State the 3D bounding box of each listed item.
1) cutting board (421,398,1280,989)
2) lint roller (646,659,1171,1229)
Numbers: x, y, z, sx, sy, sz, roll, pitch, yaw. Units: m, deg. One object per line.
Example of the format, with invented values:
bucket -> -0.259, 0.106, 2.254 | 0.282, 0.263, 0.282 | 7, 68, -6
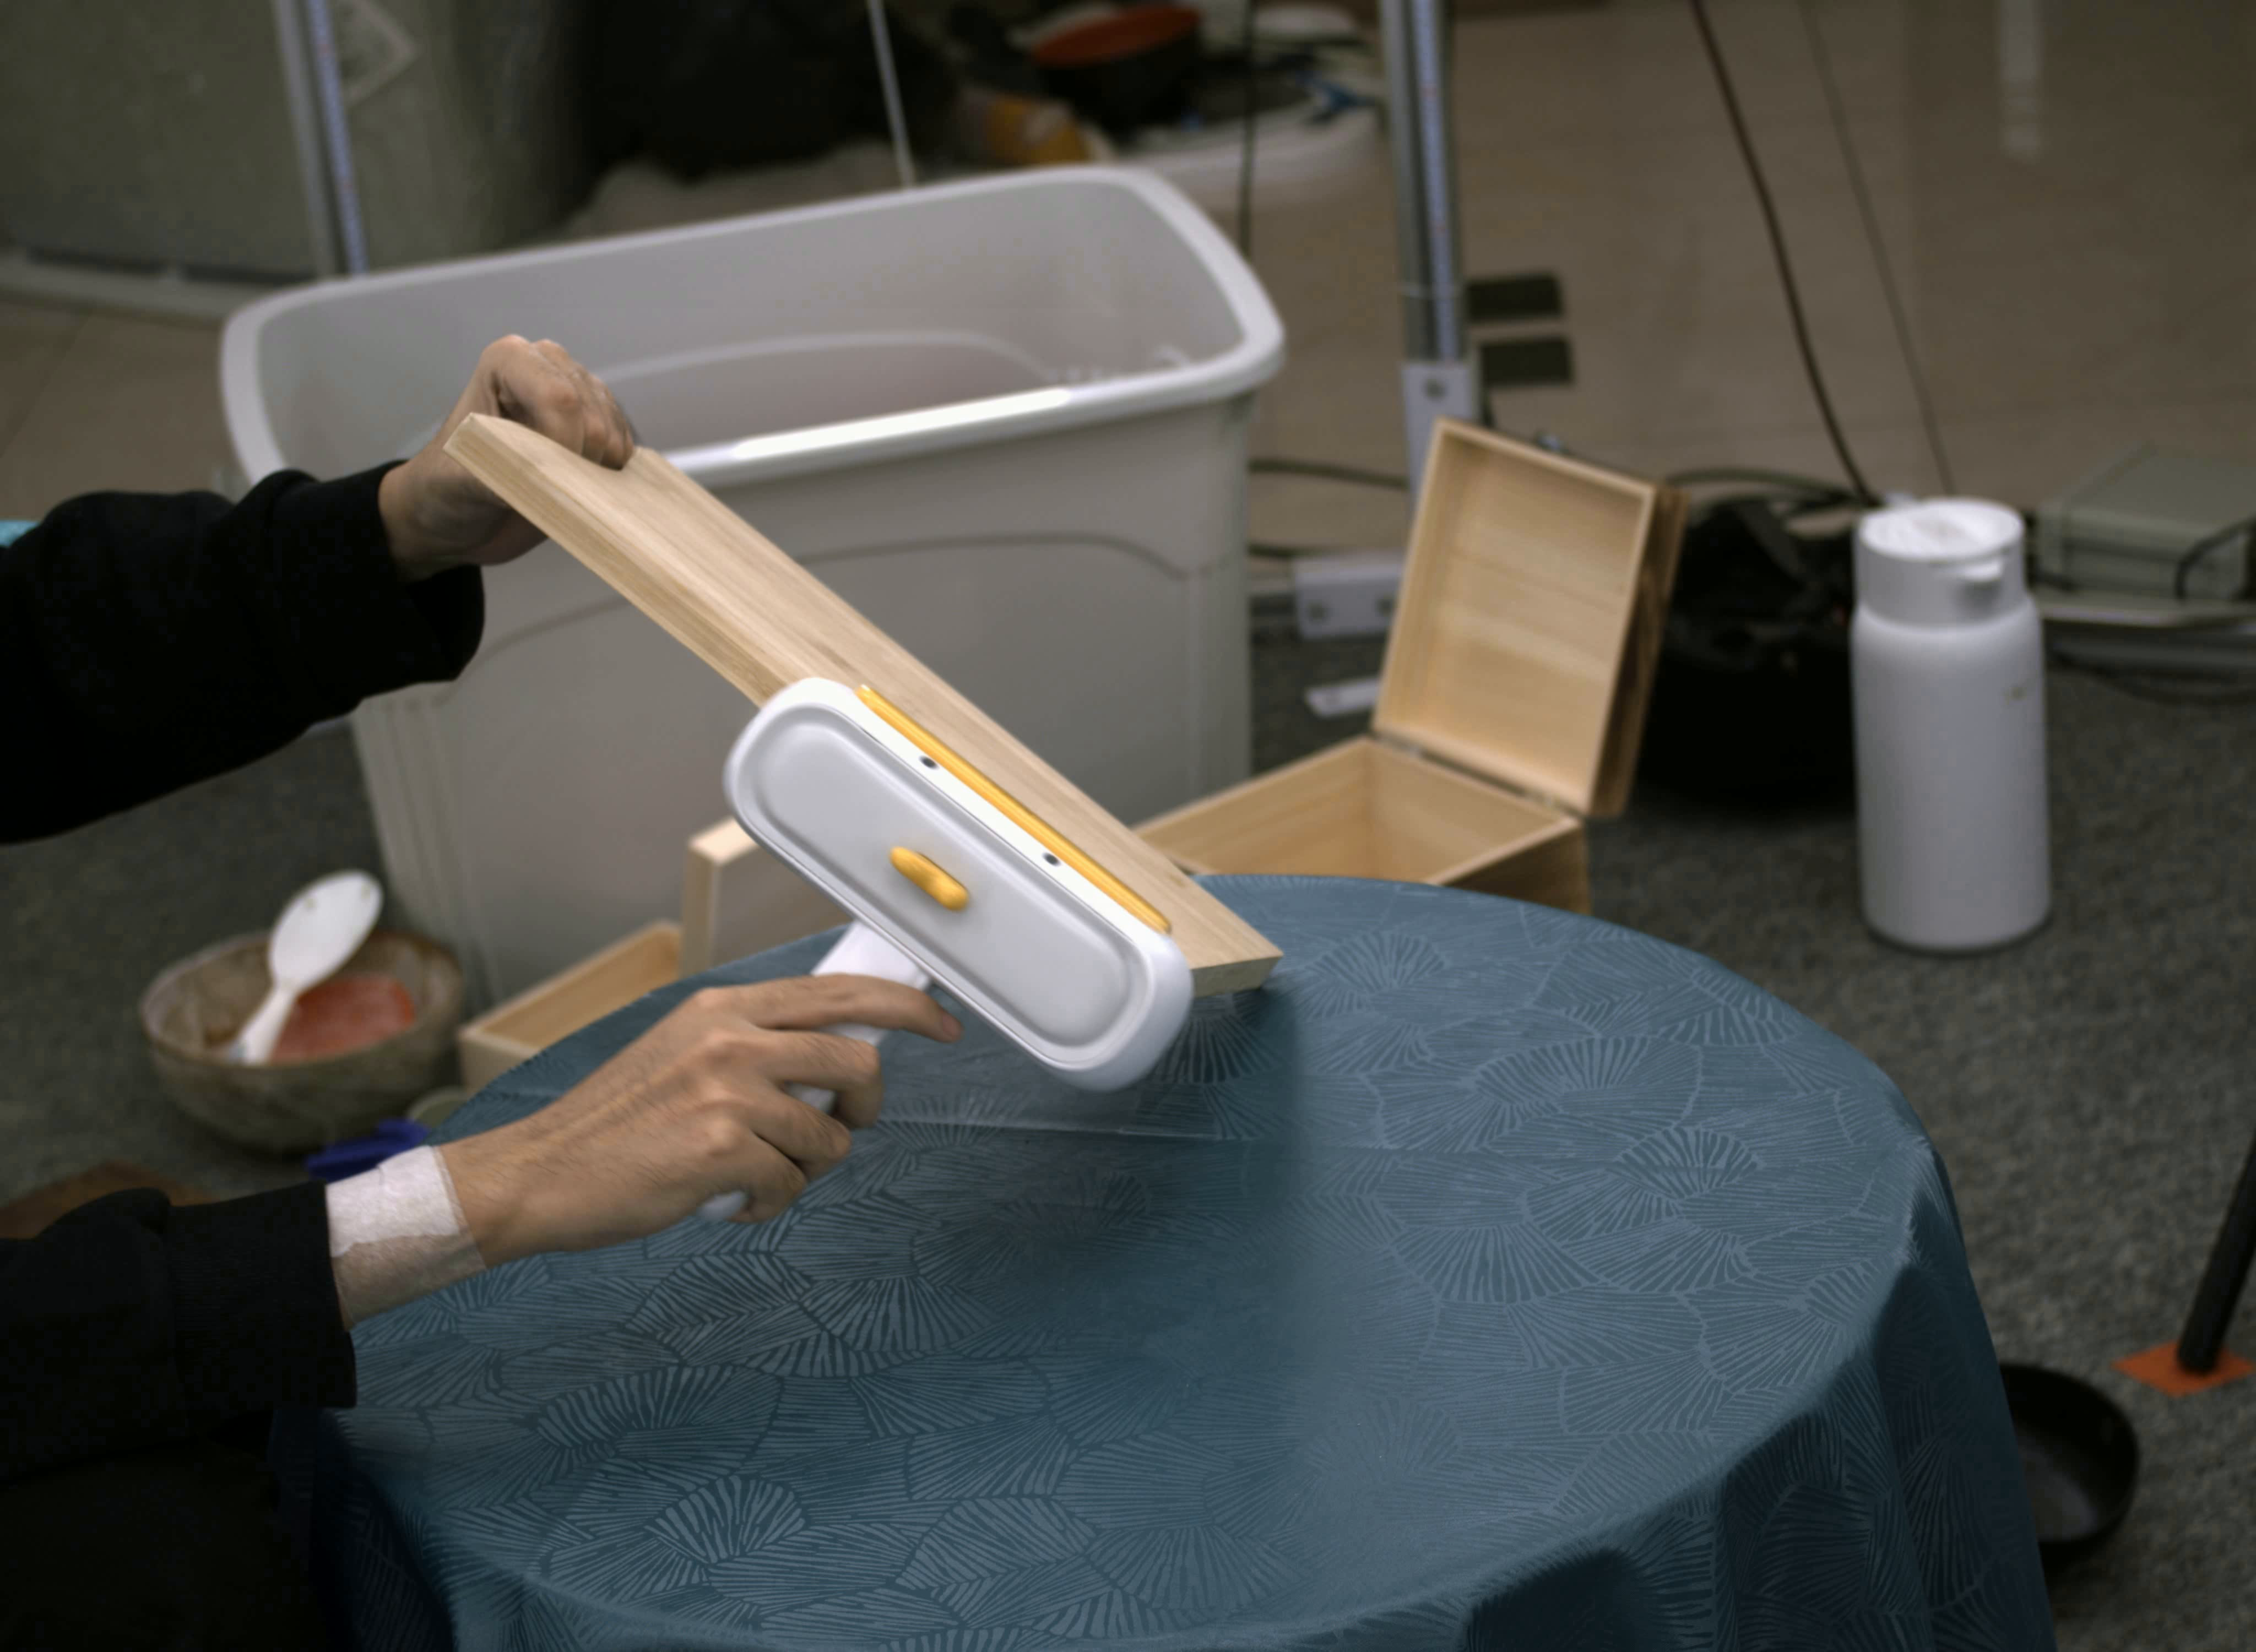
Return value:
cutting board -> -0.102, -0.048, 2.200 | 0.347, 0.024, 0.250 | 39, 8, 8
lint roller -> -0.105, 0.061, 2.034 | 0.192, 0.192, 0.074 | 35, -2, 4
